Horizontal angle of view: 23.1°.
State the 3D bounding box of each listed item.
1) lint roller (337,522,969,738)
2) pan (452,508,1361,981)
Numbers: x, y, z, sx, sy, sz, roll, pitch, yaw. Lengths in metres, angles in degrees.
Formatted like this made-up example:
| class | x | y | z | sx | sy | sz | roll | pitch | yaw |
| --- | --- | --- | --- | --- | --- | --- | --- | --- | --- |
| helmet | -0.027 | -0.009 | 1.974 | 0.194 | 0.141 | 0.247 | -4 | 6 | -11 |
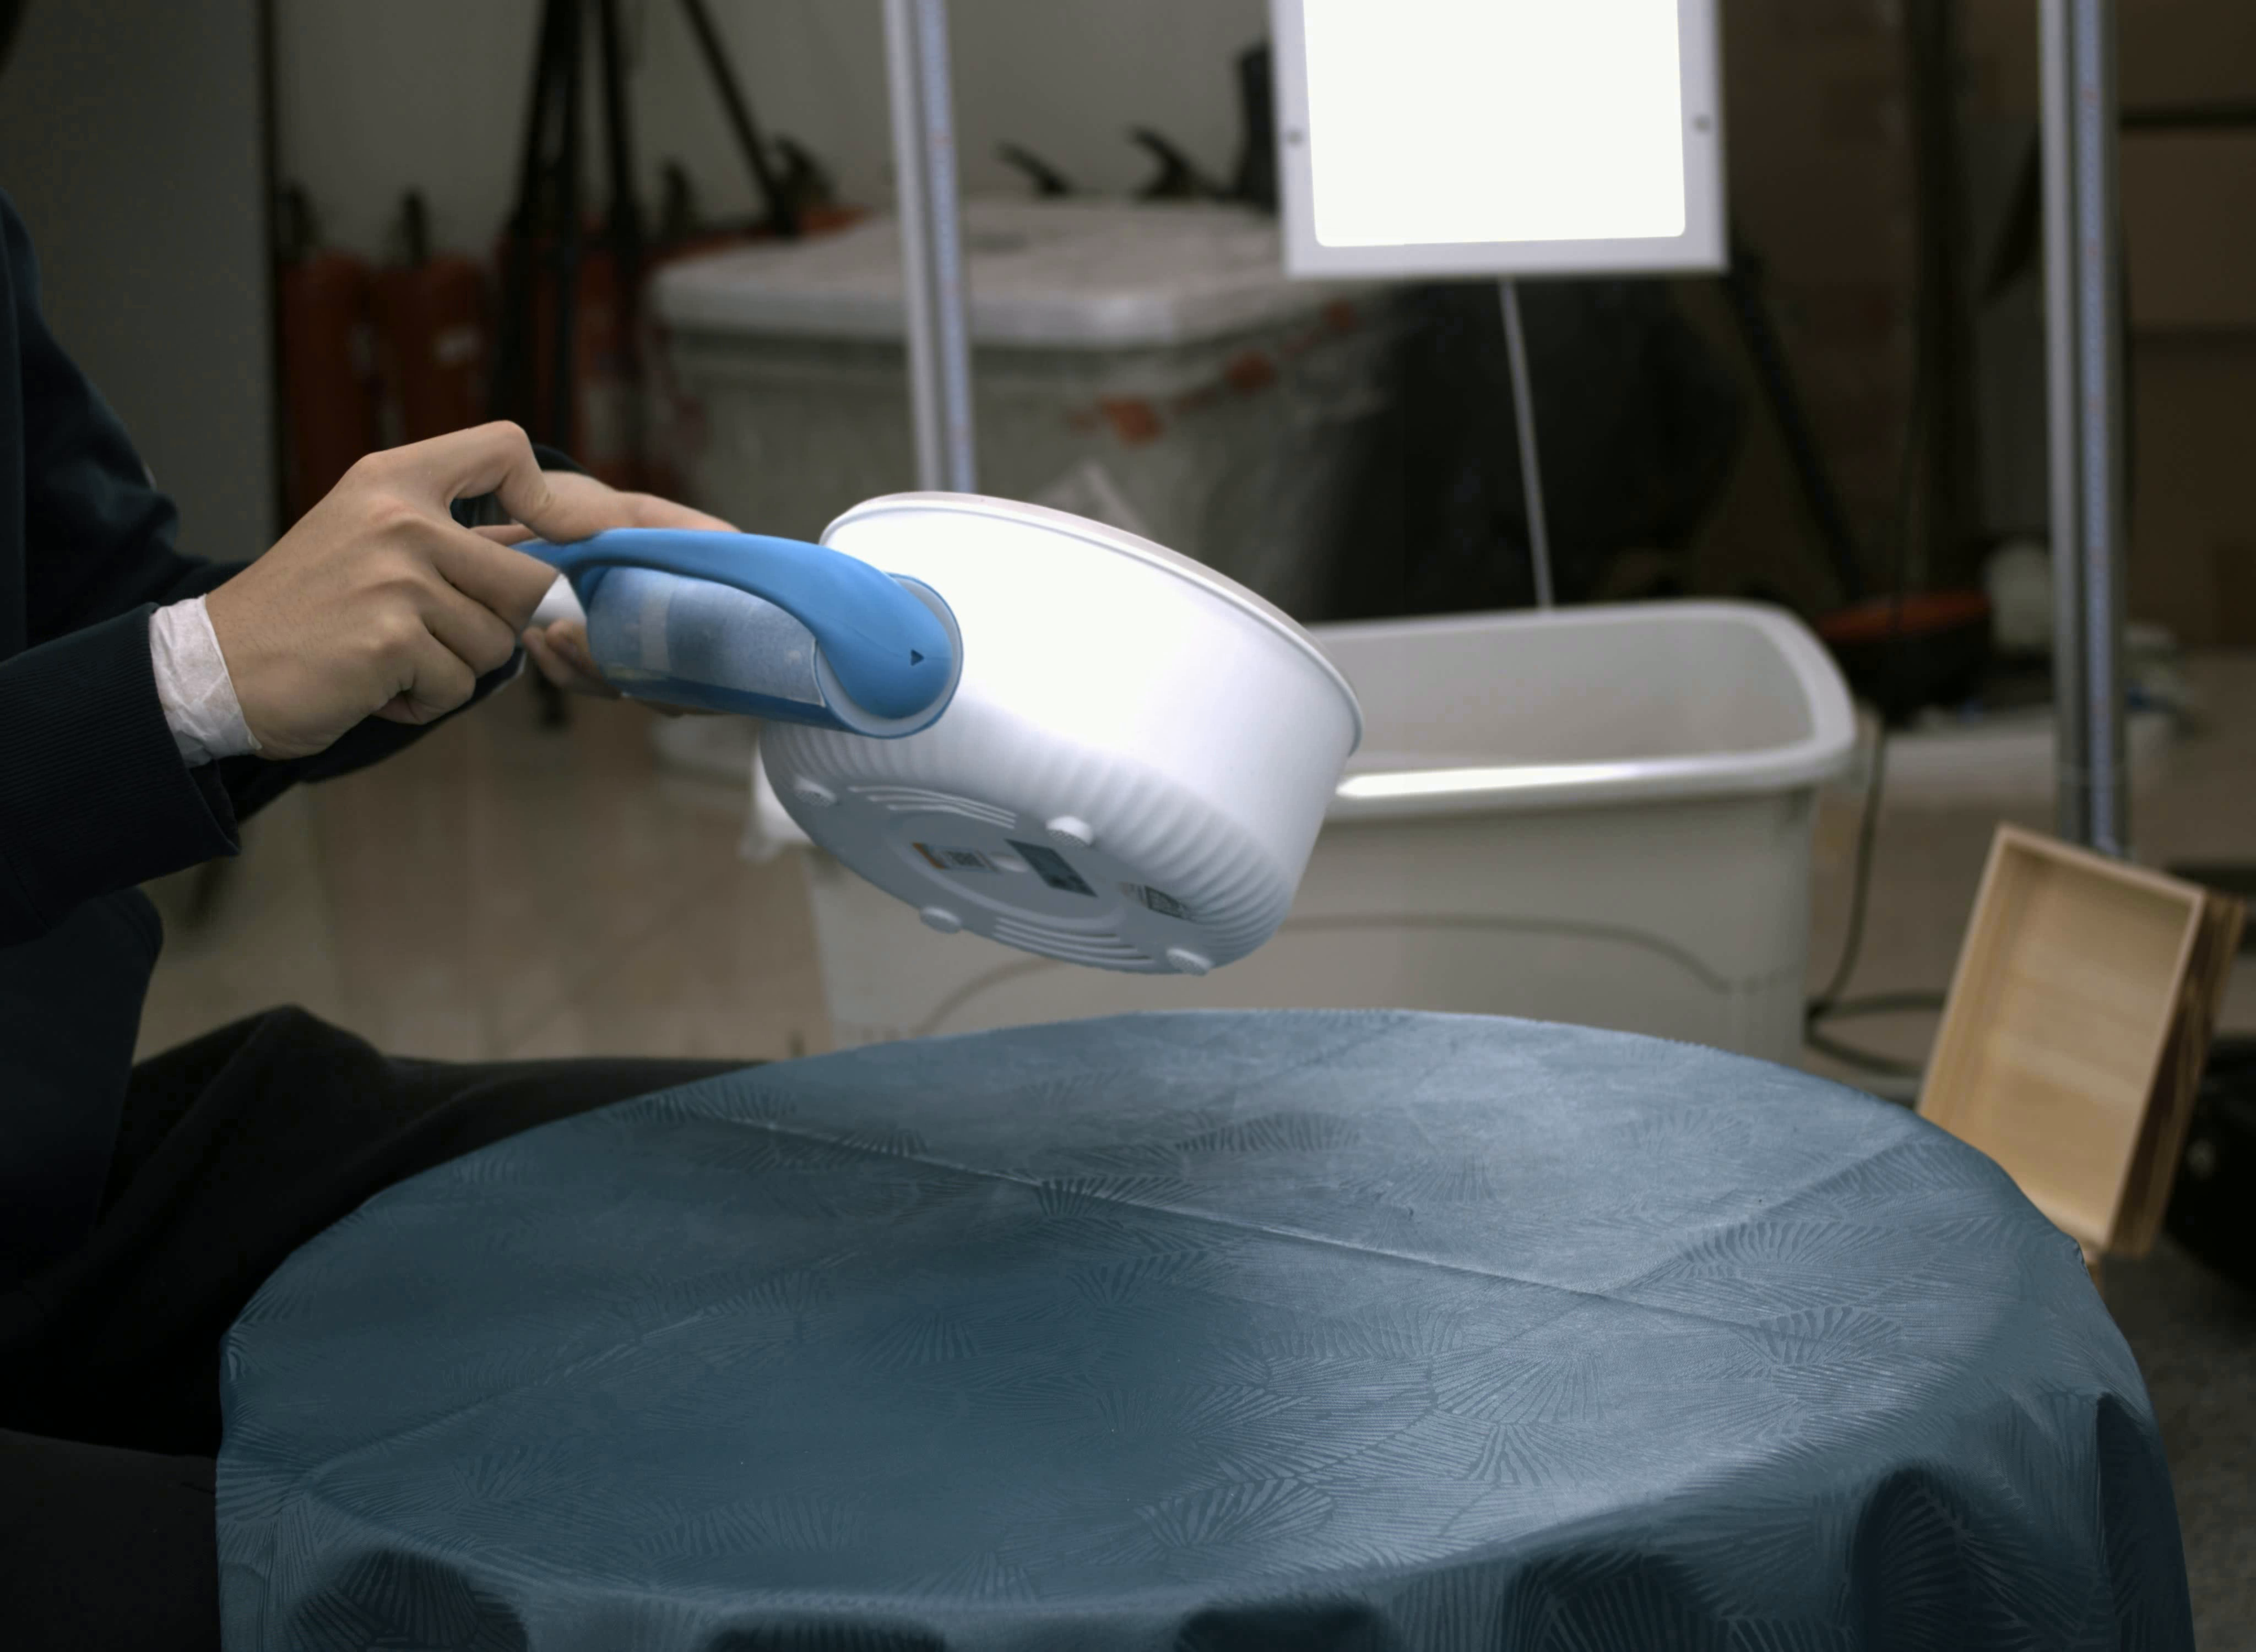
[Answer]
| class | x | y | z | sx | sy | sz | roll | pitch | yaw |
| --- | --- | --- | --- | --- | --- | --- | --- | --- | --- |
| lint roller | -0.170 | -0.066 | 1.804 | 0.176 | 0.068 | 0.233 | 3 | 5 | -30 |
| pan | -0.094 | -0.028 | 1.940 | 0.361 | 0.101 | 0.198 | 7 | -21 | 30 |
